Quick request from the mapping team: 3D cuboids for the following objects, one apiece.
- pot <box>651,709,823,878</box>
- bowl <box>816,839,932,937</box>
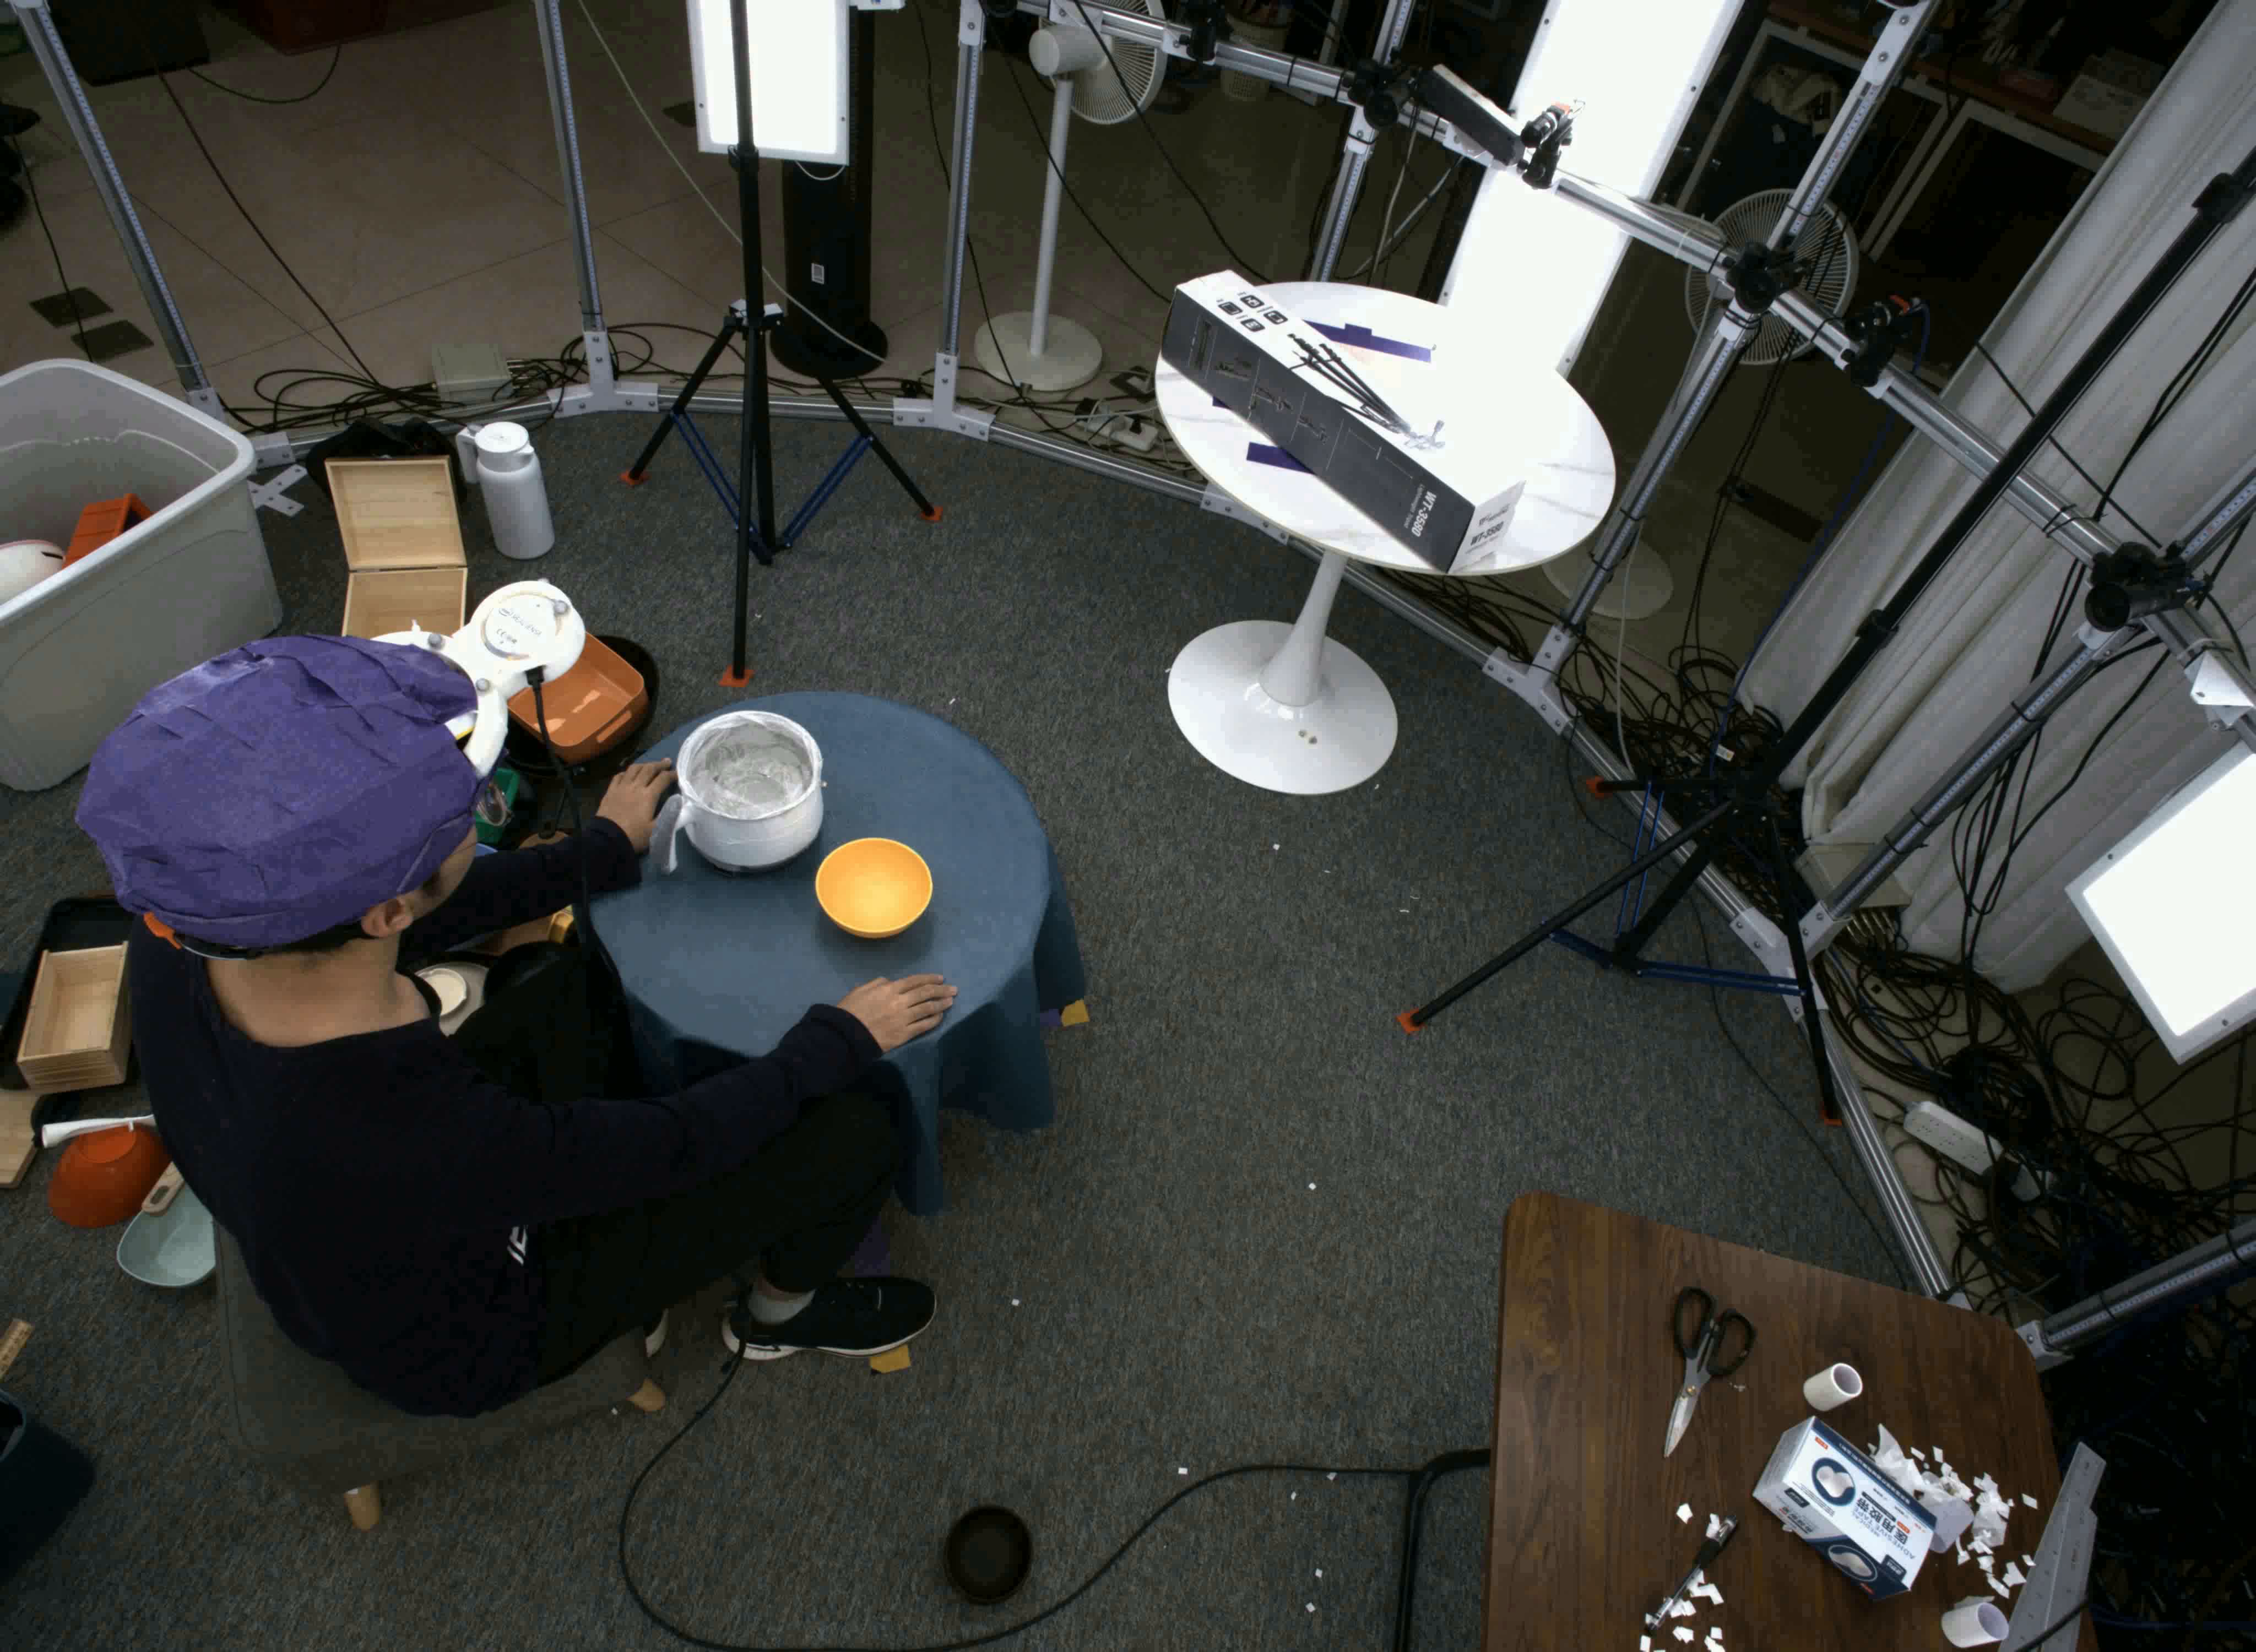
[{"bbox_3d":[-0.504,-0.027,1.649,0.234,0.139,0.174,-34,67,-30],"label":"pot"},{"bbox_3d":[-0.323,0.089,1.655,0.145,0.061,0.142,8,50,-8],"label":"bowl"}]
